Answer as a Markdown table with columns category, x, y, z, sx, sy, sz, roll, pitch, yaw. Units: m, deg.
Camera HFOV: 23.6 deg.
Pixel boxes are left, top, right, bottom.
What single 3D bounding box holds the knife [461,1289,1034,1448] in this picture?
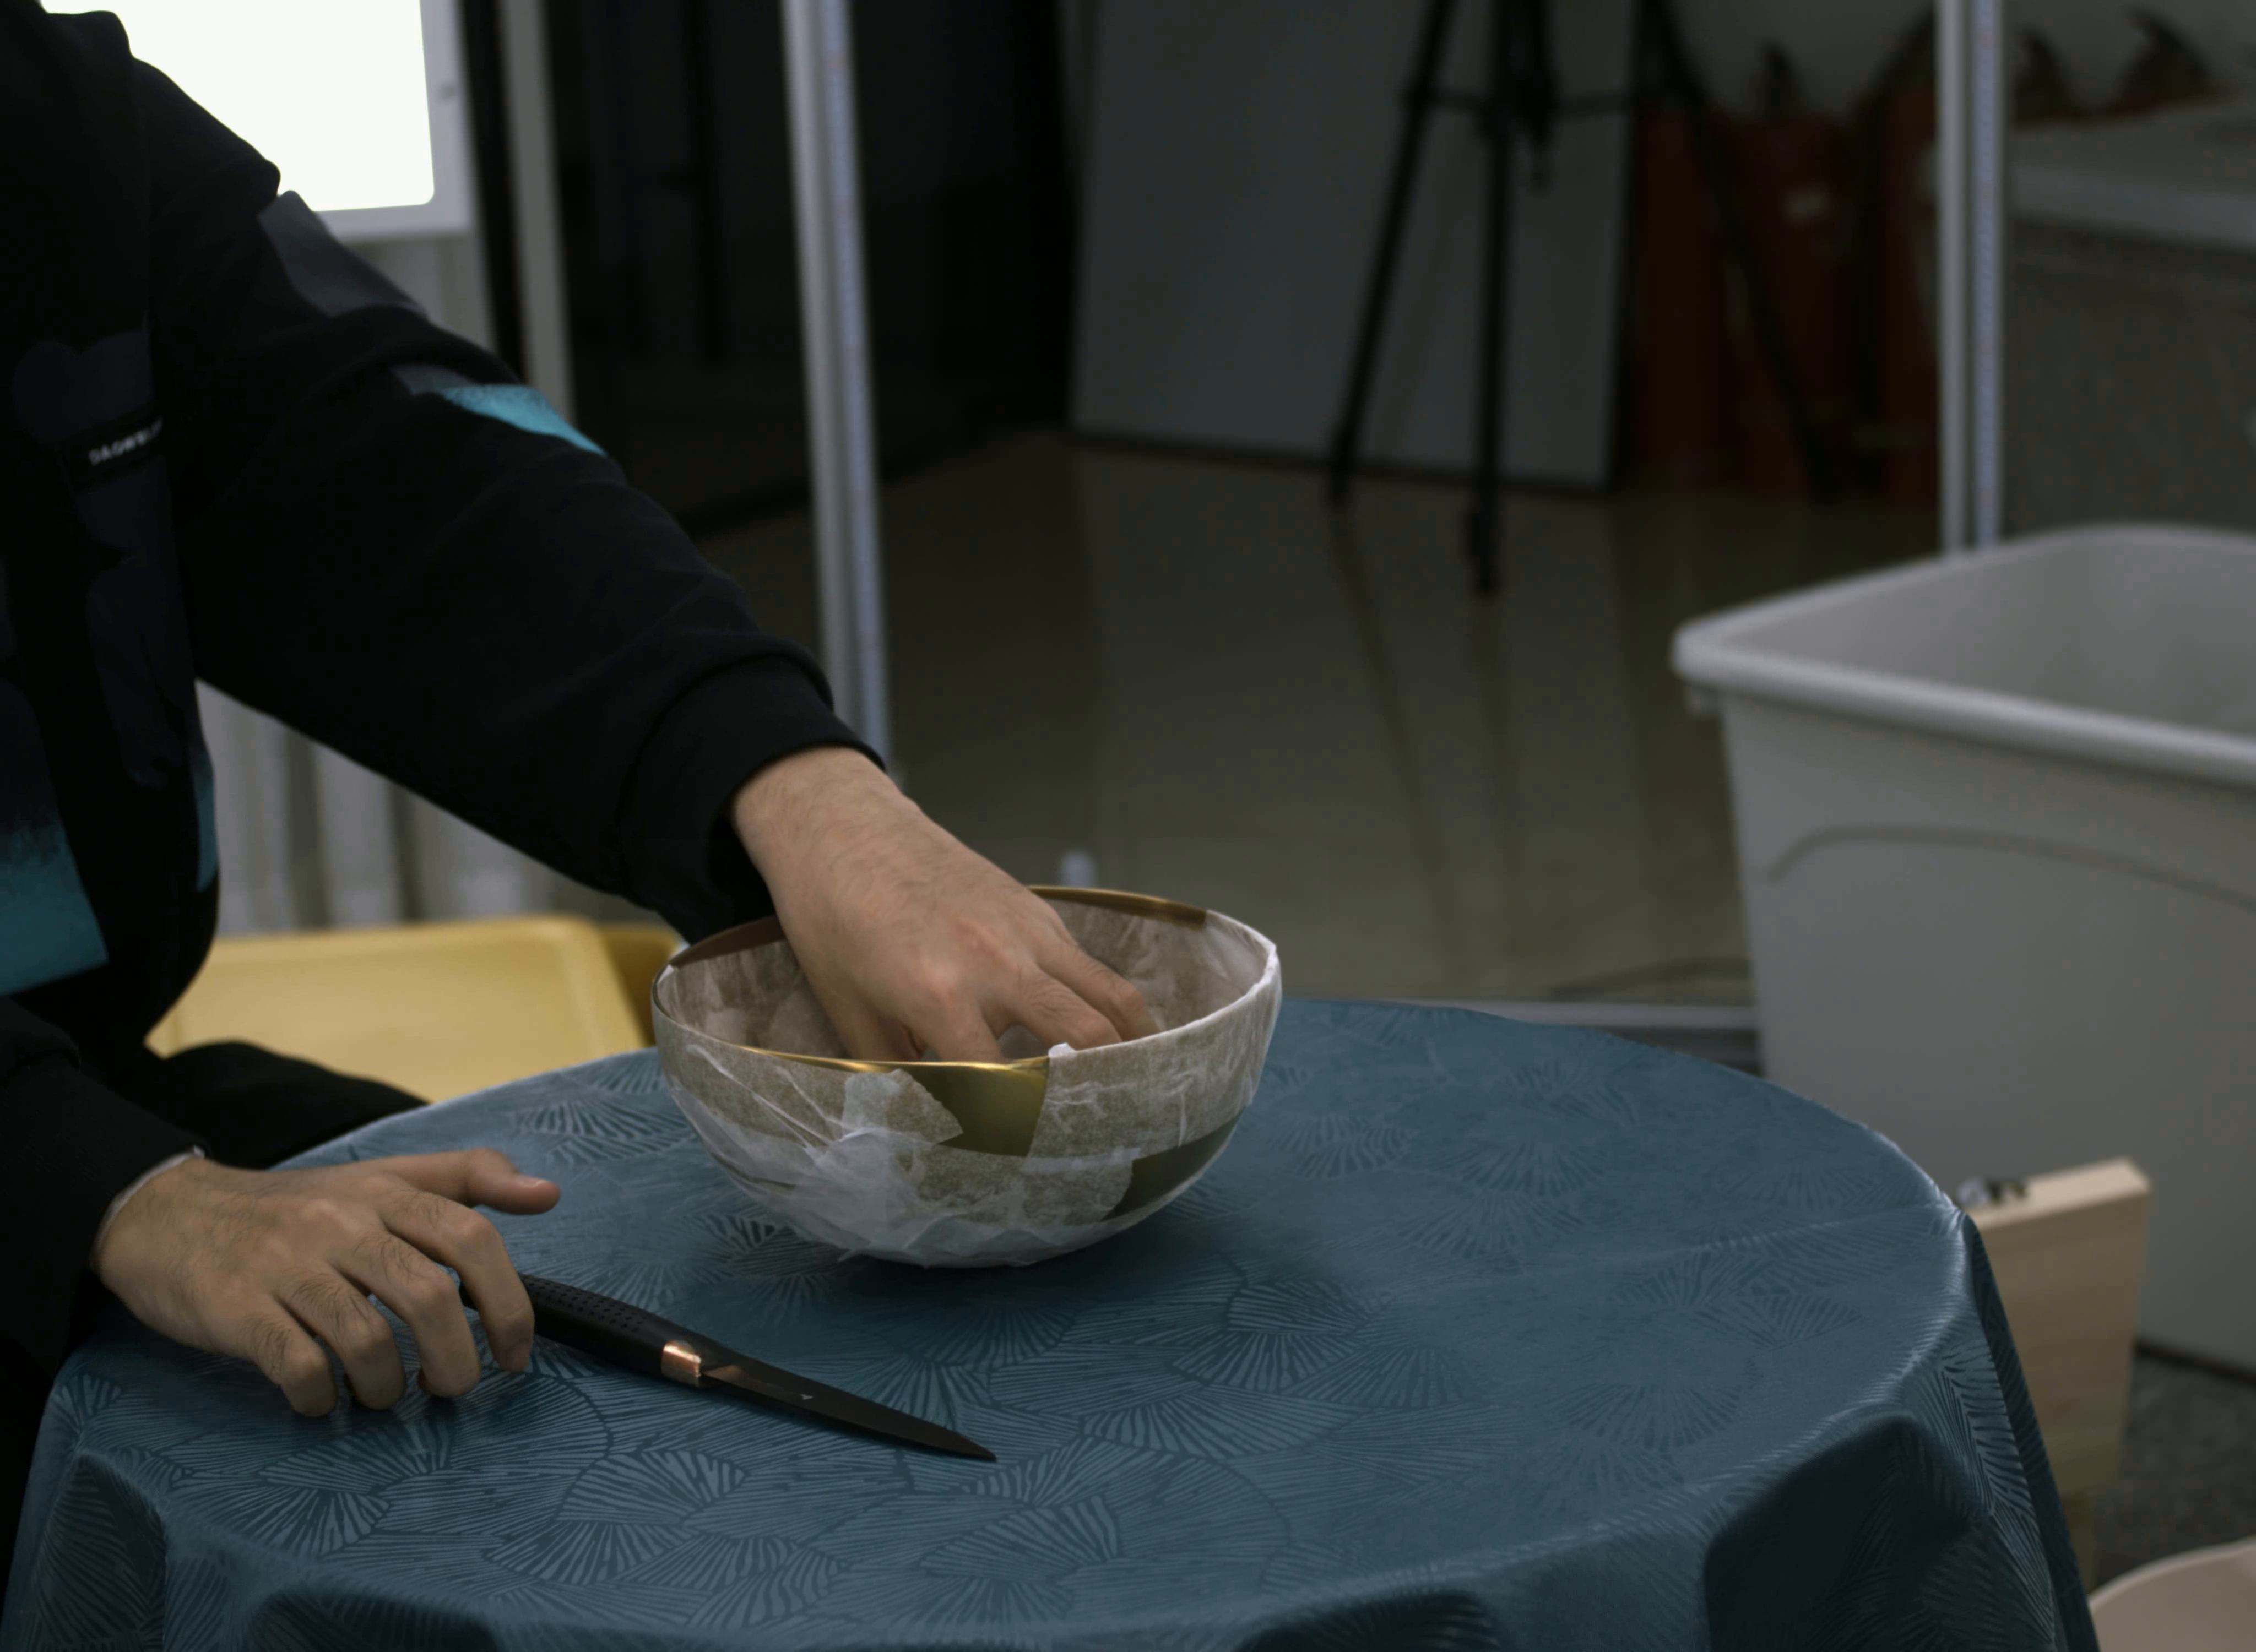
| category | x | y | z | sx | sy | sz | roll | pitch | yaw |
| --- | --- | --- | --- | --- | --- | --- | --- | --- | --- |
| knife | -0.116 | 0.164 | 1.612 | 0.227 | 0.017 | 0.025 | 9 | 12 | 40 |

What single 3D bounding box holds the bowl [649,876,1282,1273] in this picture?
| category | x | y | z | sx | sy | sz | roll | pitch | yaw |
| --- | --- | --- | --- | --- | --- | --- | --- | --- | --- |
| bowl | -0.052 | 0.086 | 1.726 | 0.212 | 0.095 | 0.215 | -4 | 15 | 0 |
